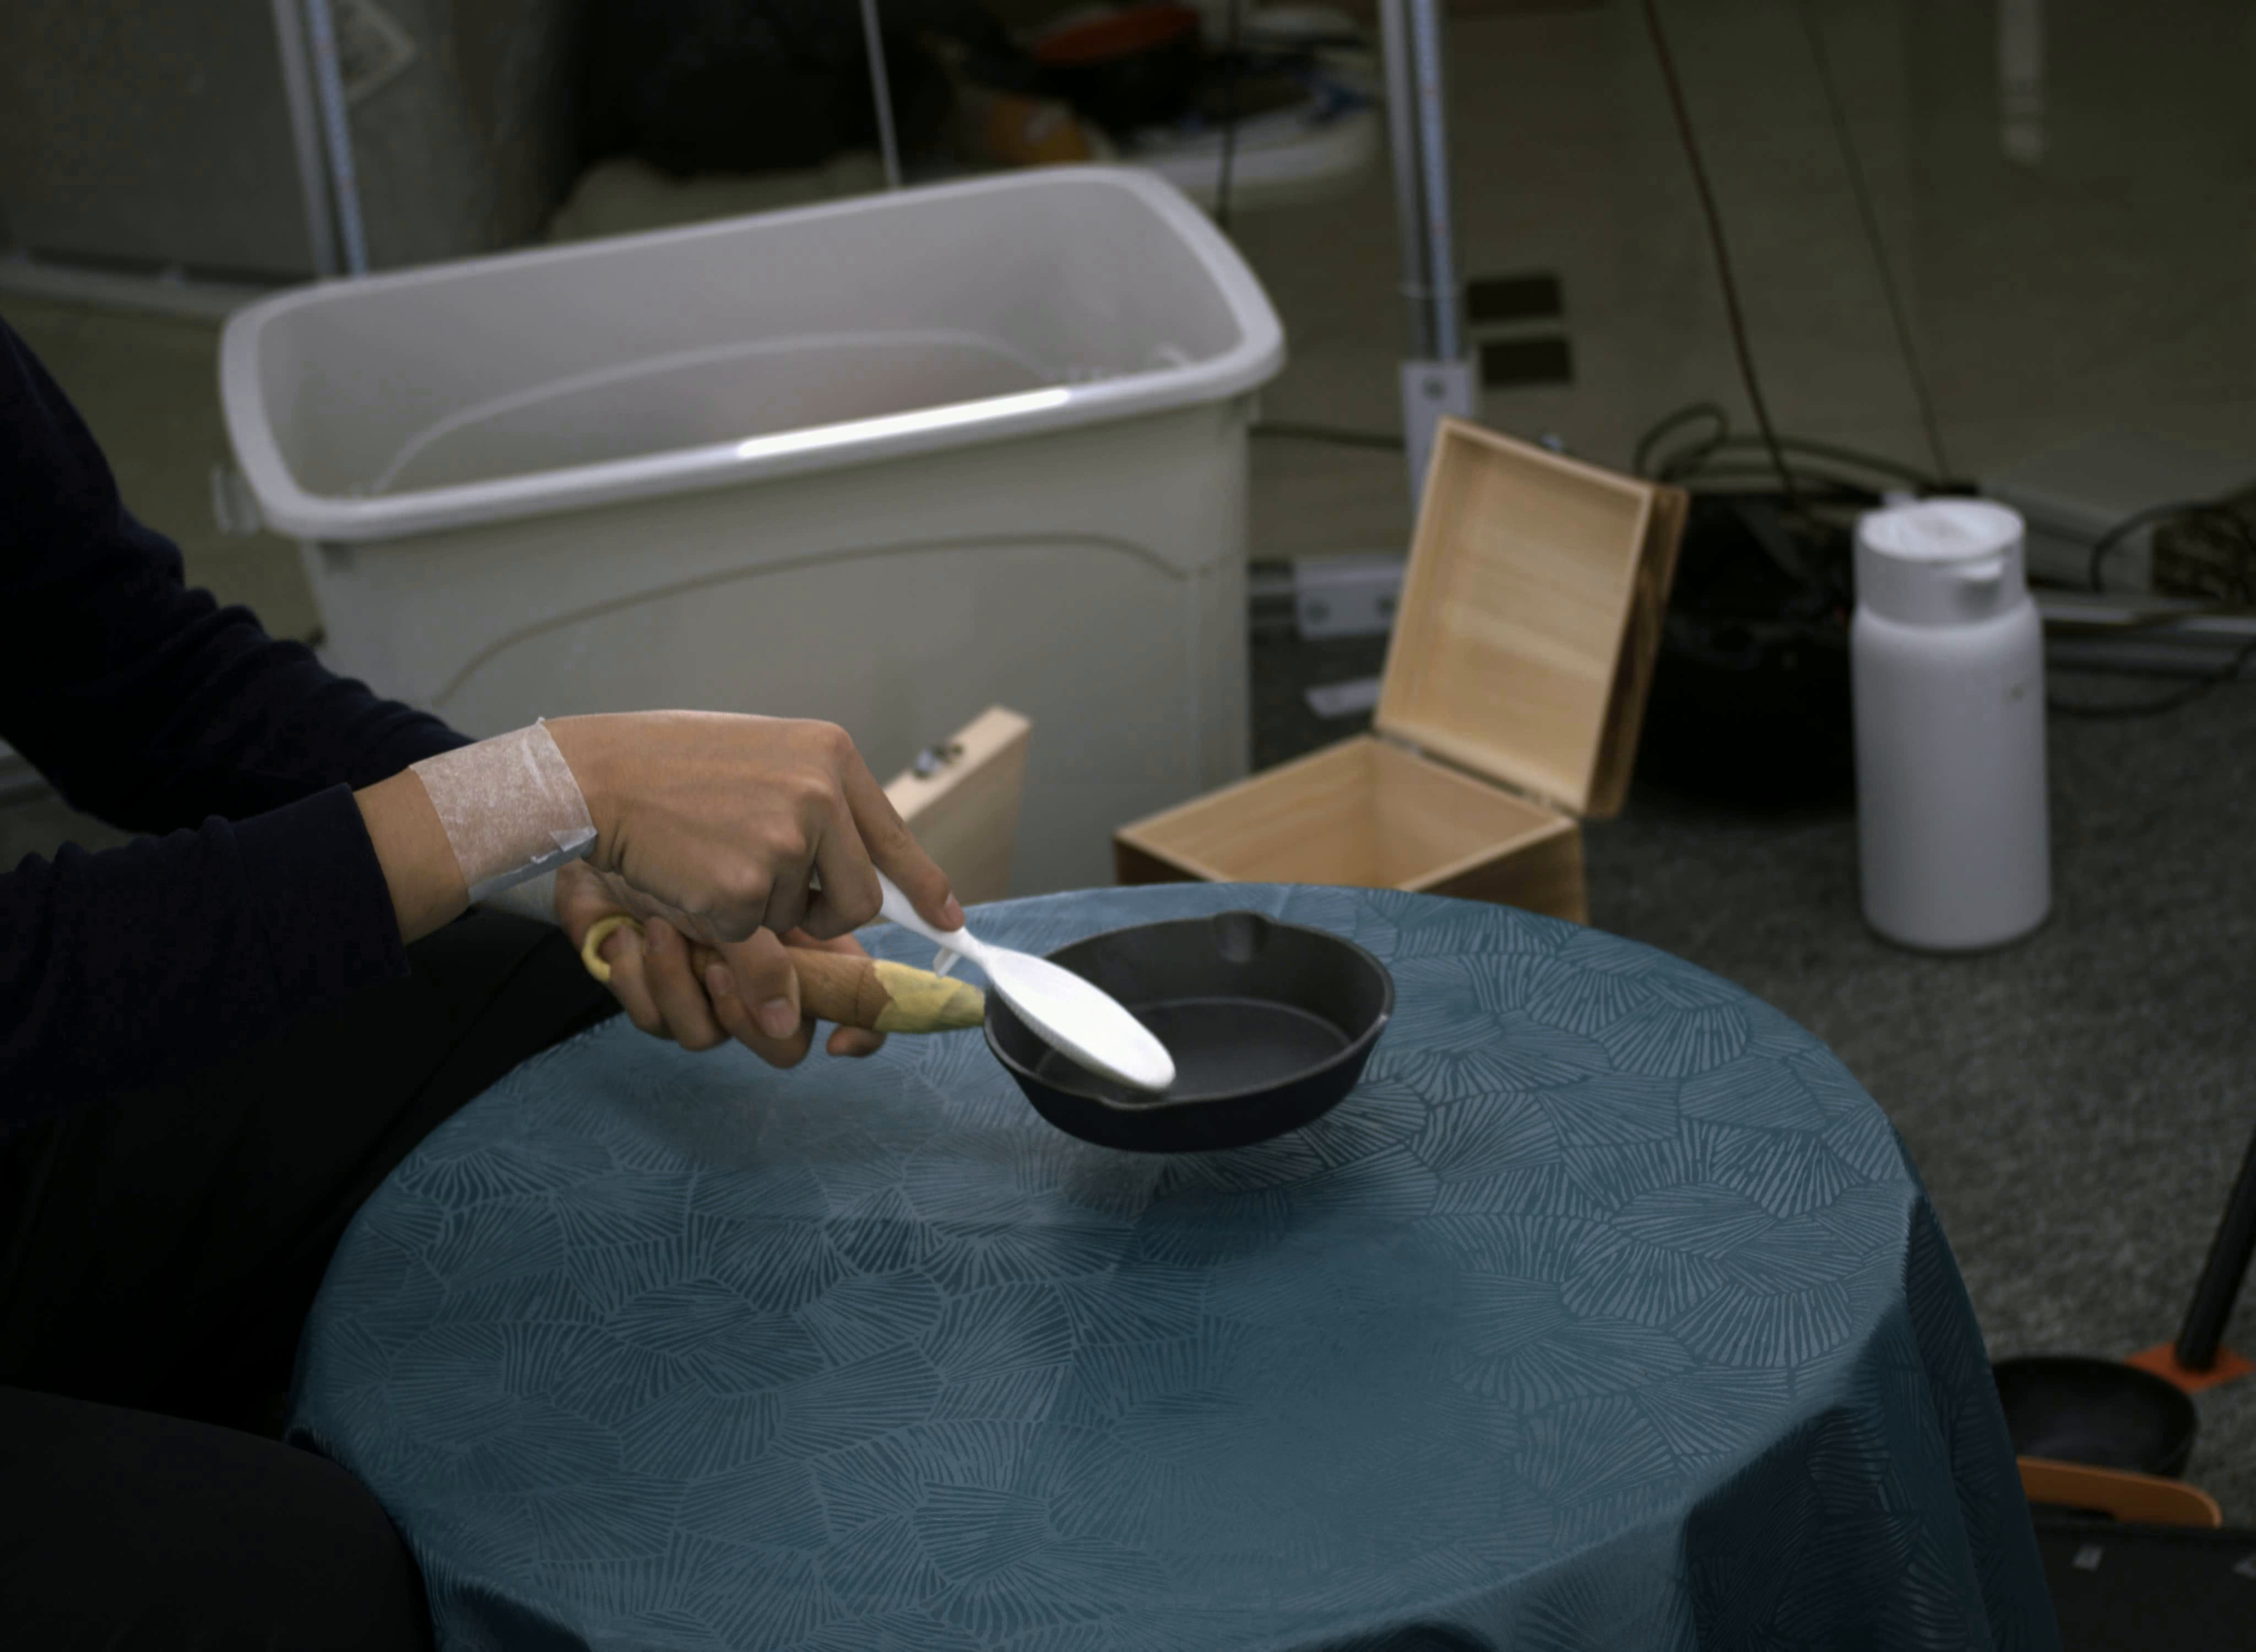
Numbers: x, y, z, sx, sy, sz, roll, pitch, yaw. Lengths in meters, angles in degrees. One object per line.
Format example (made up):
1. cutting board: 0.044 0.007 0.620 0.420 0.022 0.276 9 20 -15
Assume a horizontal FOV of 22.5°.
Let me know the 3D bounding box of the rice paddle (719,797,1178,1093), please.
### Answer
1. rice paddle: -0.061 0.048 2.115 0.206 0.029 0.067 30 19 -24

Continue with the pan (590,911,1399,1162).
1. pan: -0.054 0.071 2.179 0.323 0.050 0.166 5 27 18
